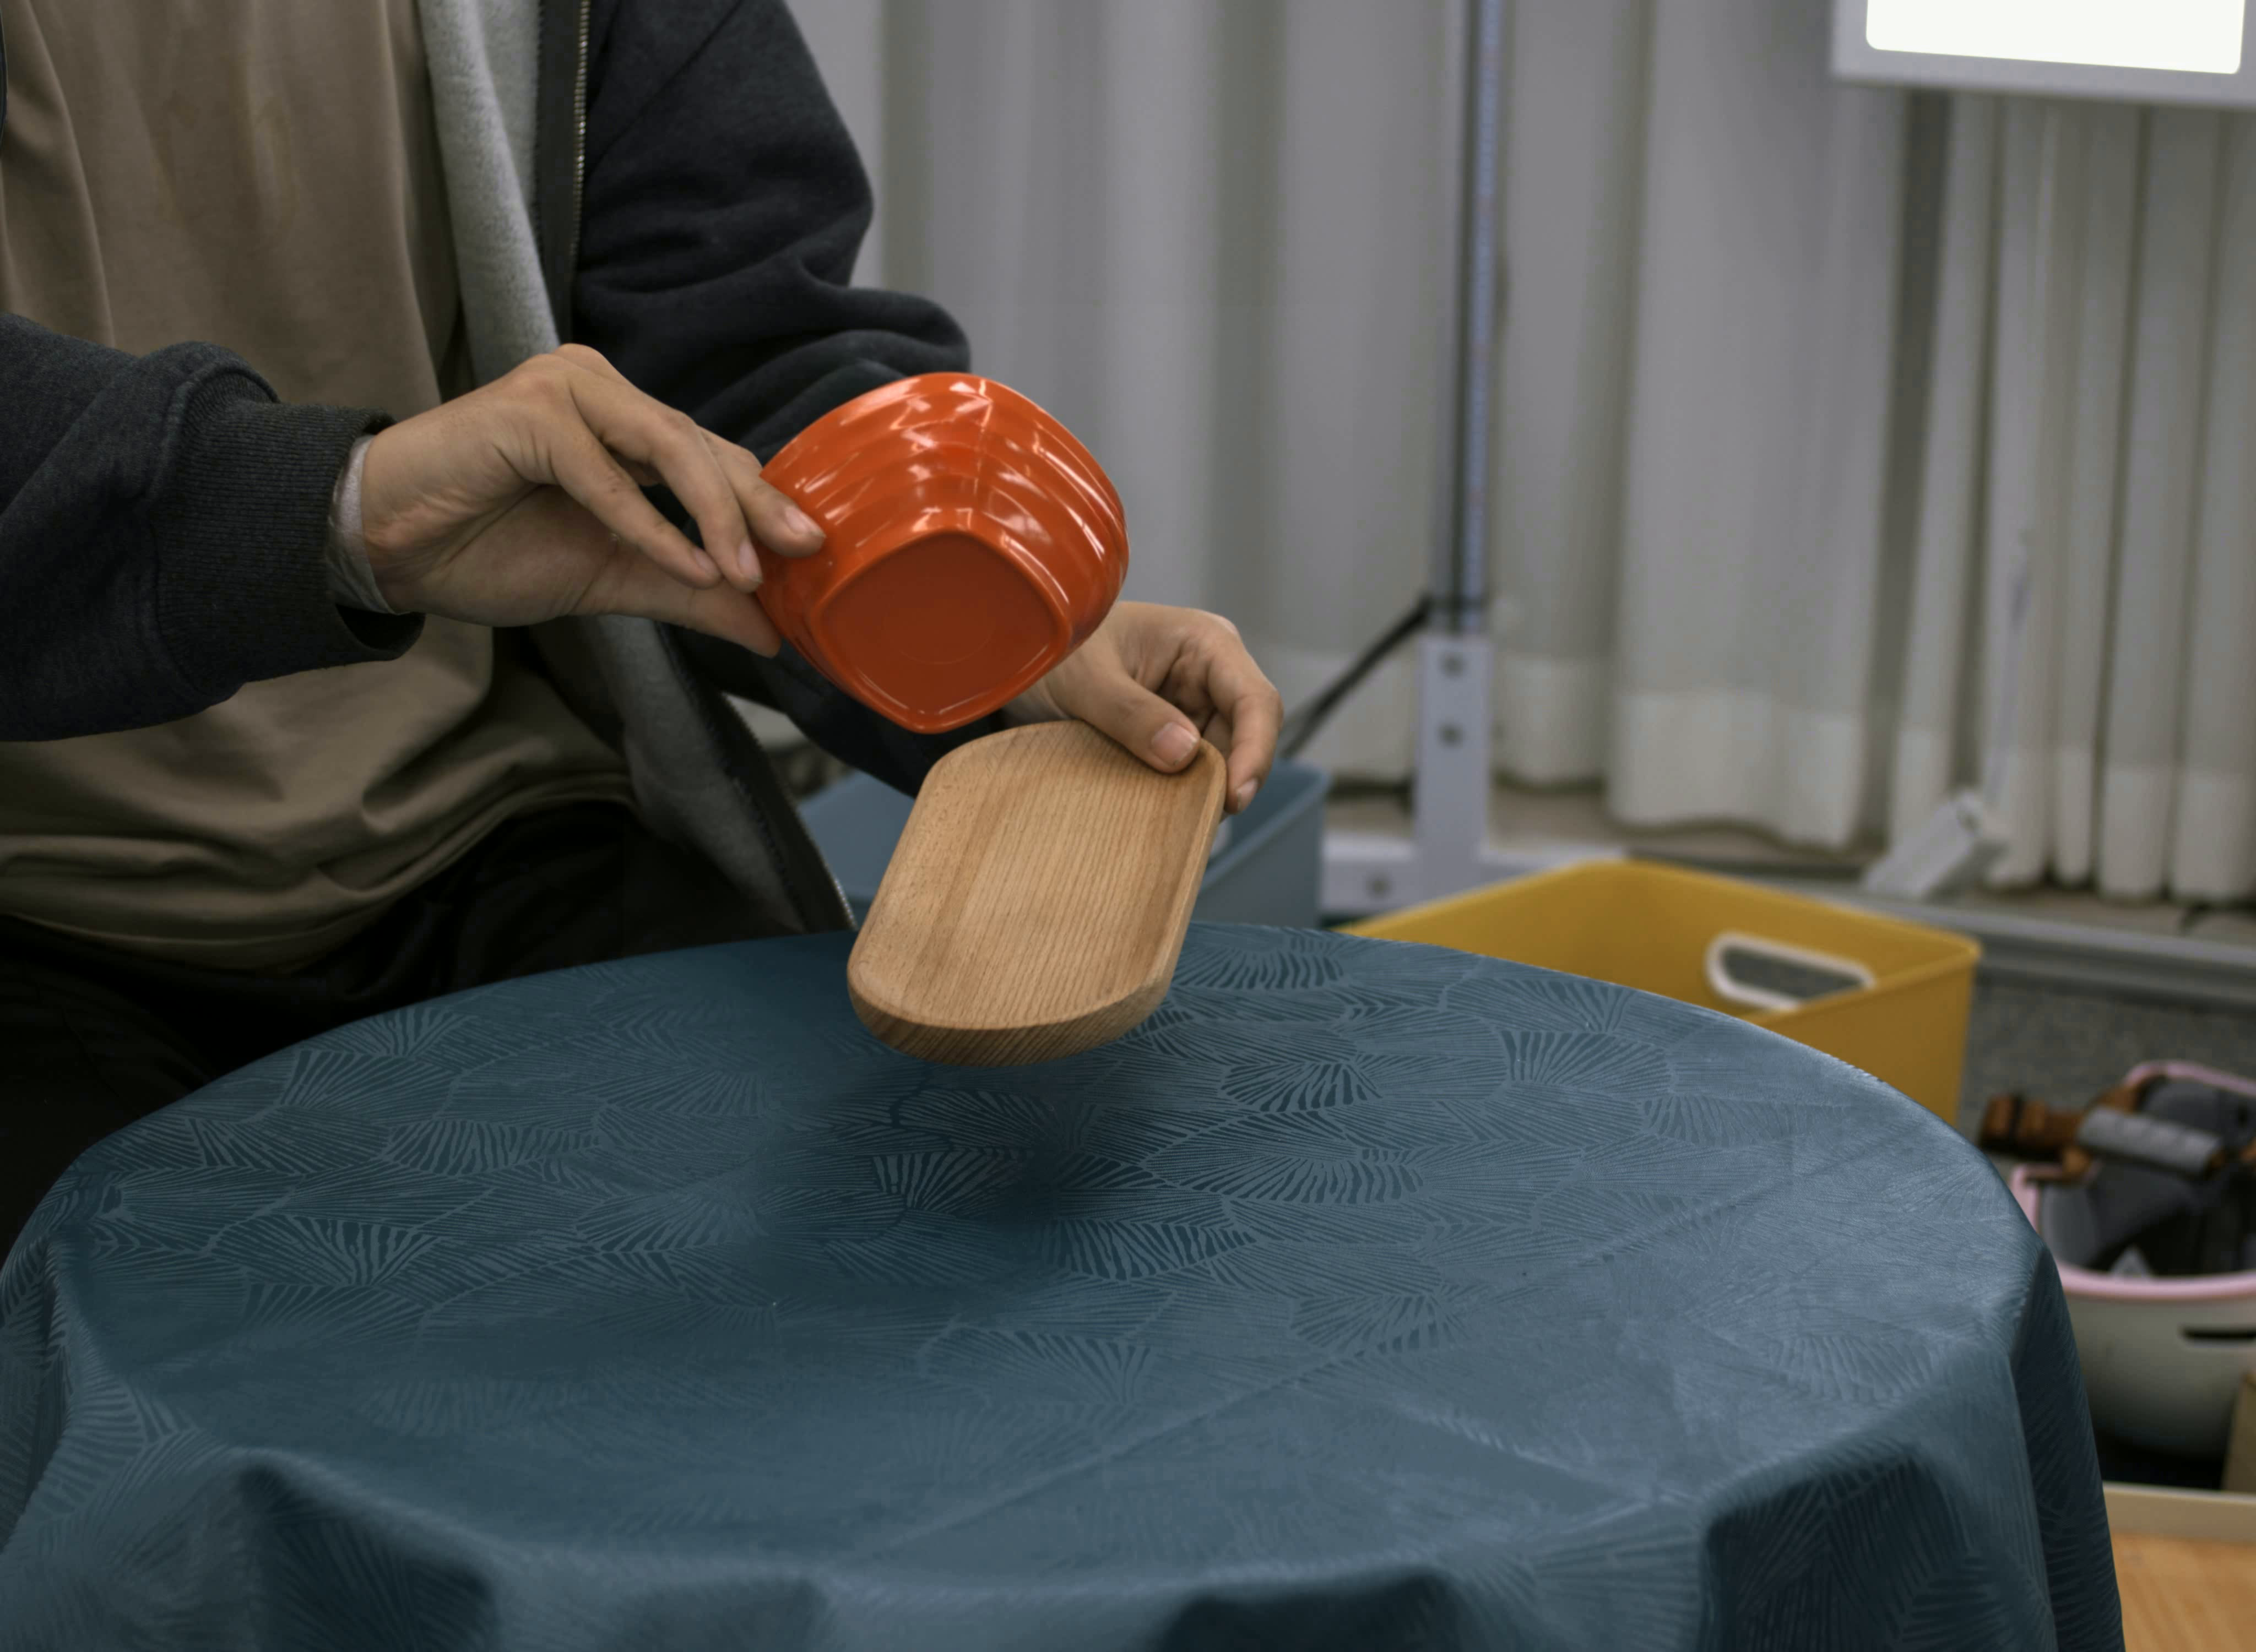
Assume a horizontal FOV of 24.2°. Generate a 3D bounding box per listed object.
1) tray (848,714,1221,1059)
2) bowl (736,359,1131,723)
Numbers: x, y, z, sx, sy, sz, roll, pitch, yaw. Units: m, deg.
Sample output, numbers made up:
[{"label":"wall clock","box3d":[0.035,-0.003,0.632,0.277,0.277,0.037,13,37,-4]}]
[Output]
[{"label":"tray","box3d":[-0.027,0.016,1.664,0.101,0.020,0.230,0,23,7]},{"label":"bowl","box3d":[-0.056,-0.075,1.550,0.119,0.120,0.051,-1,41,-5]}]
